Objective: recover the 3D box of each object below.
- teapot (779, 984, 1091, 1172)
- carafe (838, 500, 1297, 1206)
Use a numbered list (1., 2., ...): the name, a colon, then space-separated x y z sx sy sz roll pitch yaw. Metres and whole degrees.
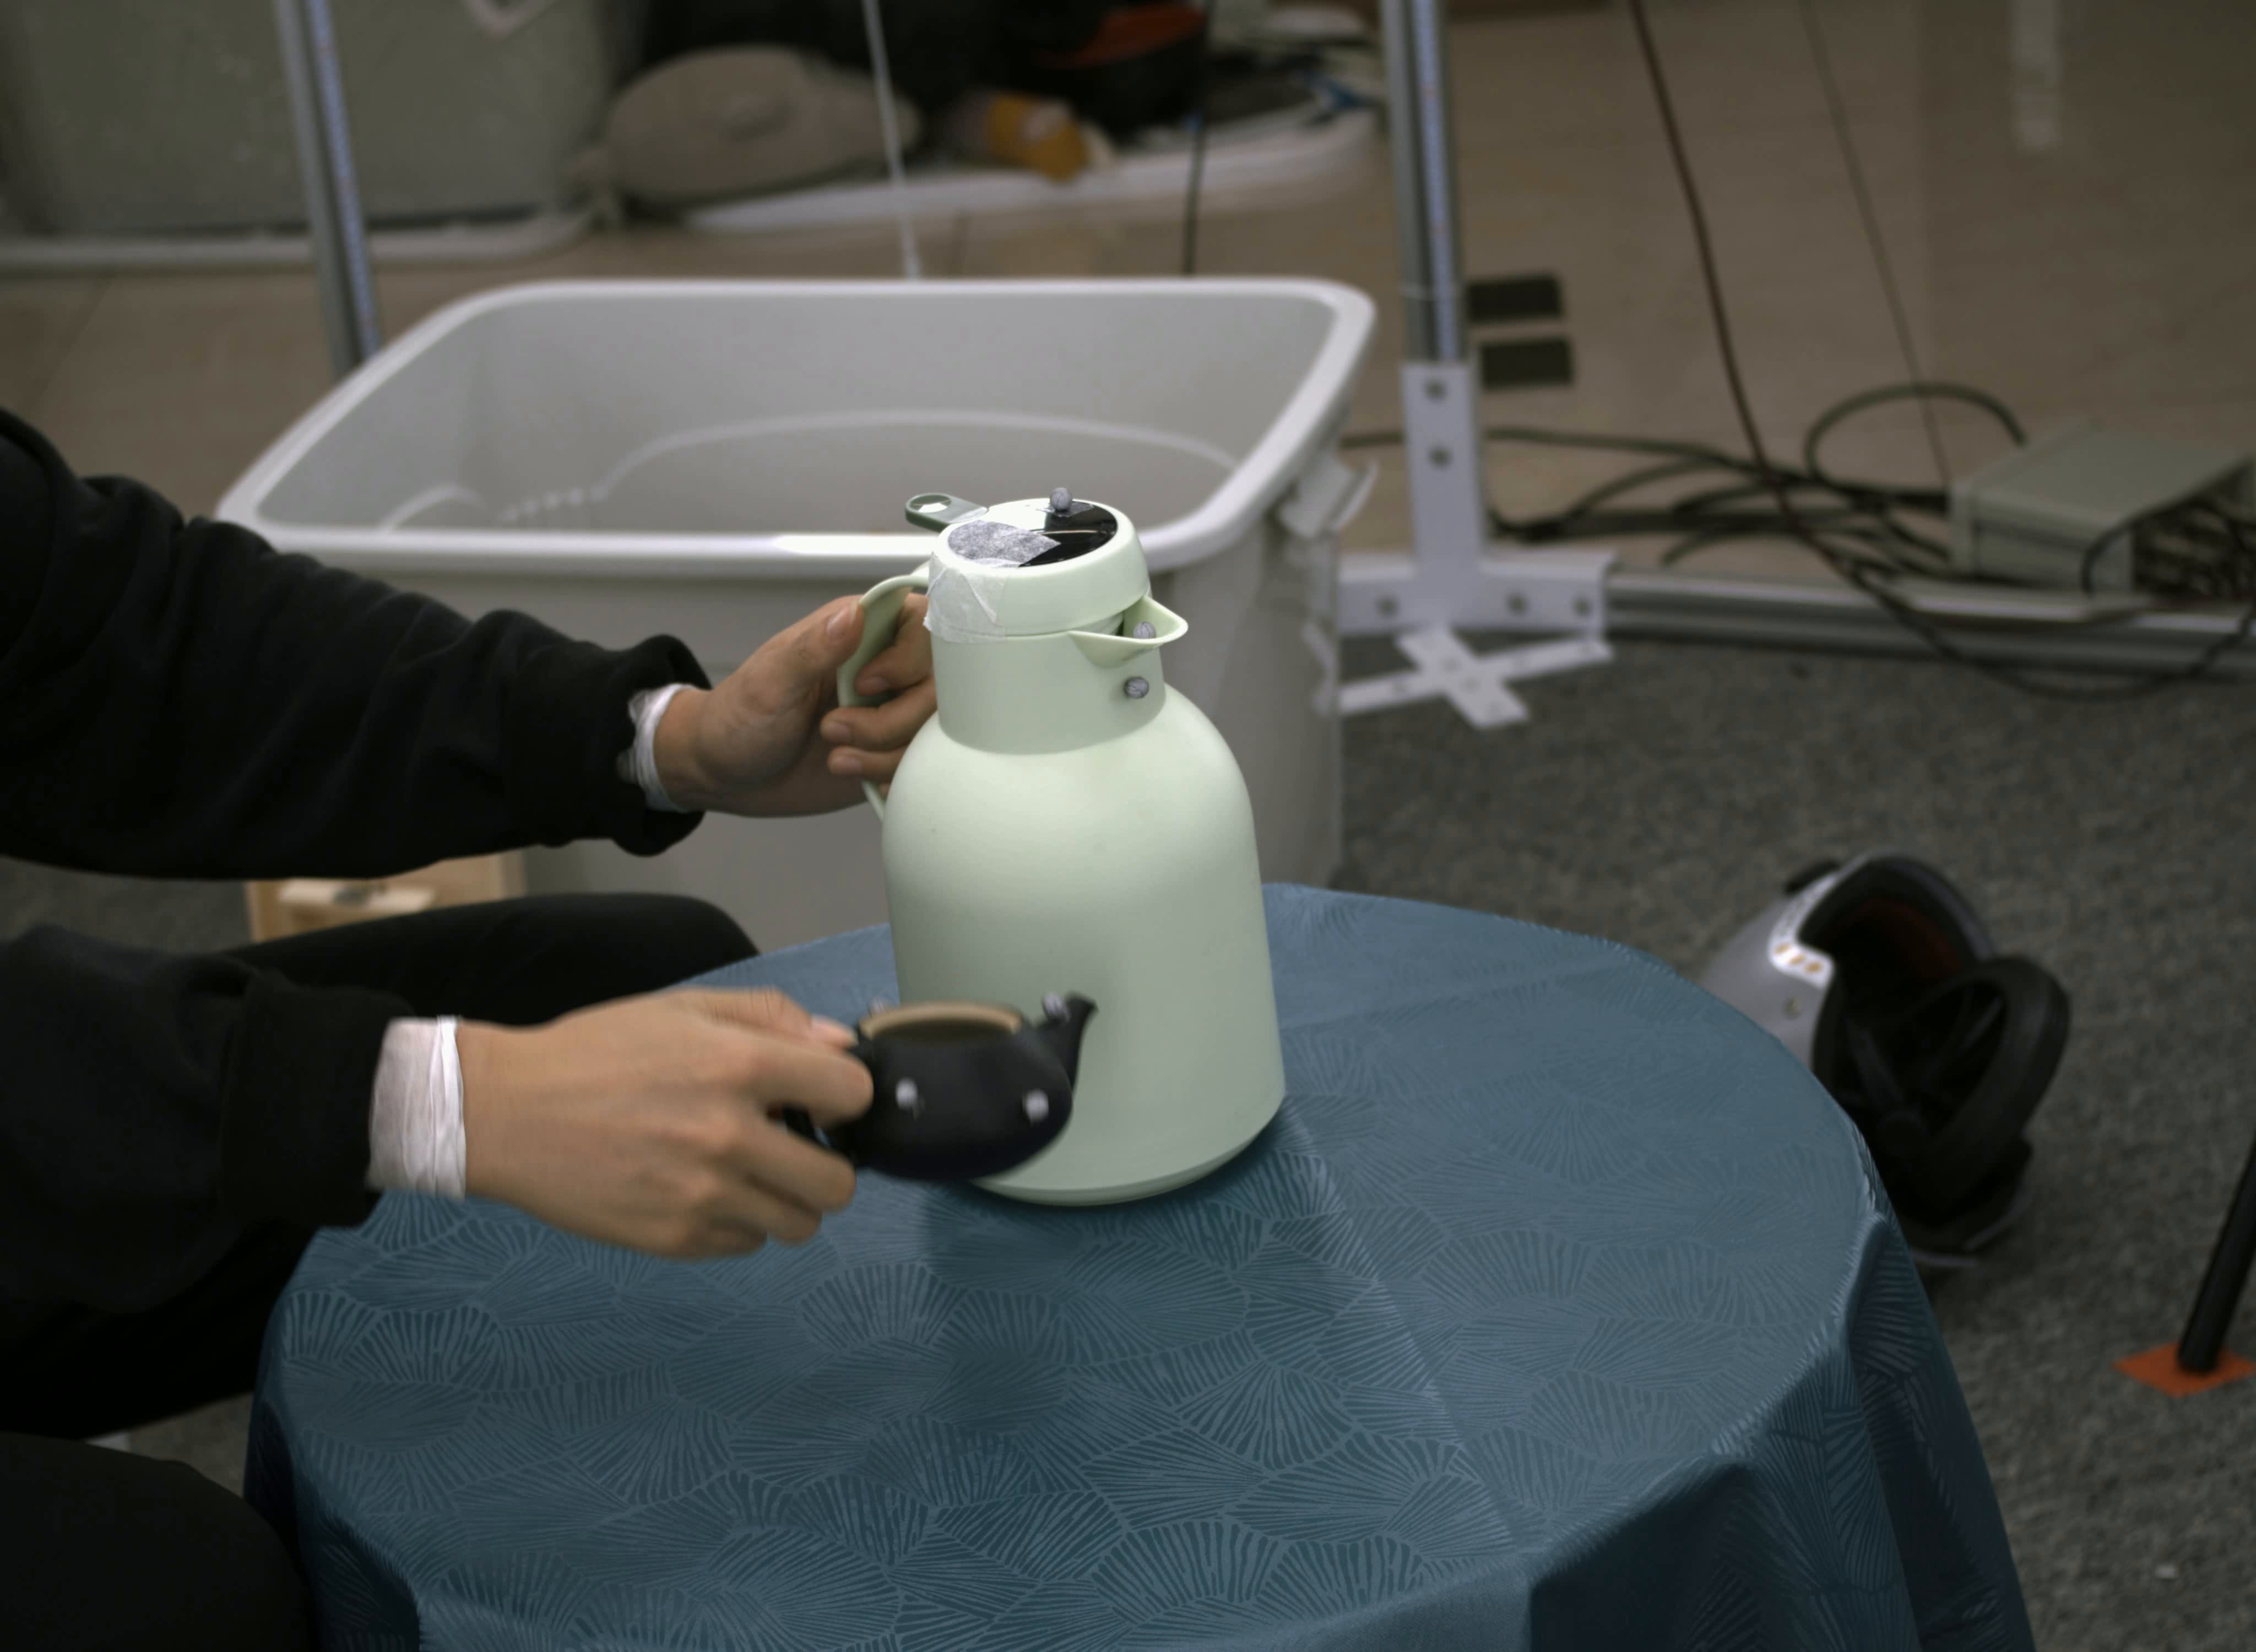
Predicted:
1. teapot: -0.067 0.090 1.995 0.132 0.053 0.090 -10 14 -37
2. carafe: -0.031 0.002 2.150 0.185 0.261 0.143 15 35 44
